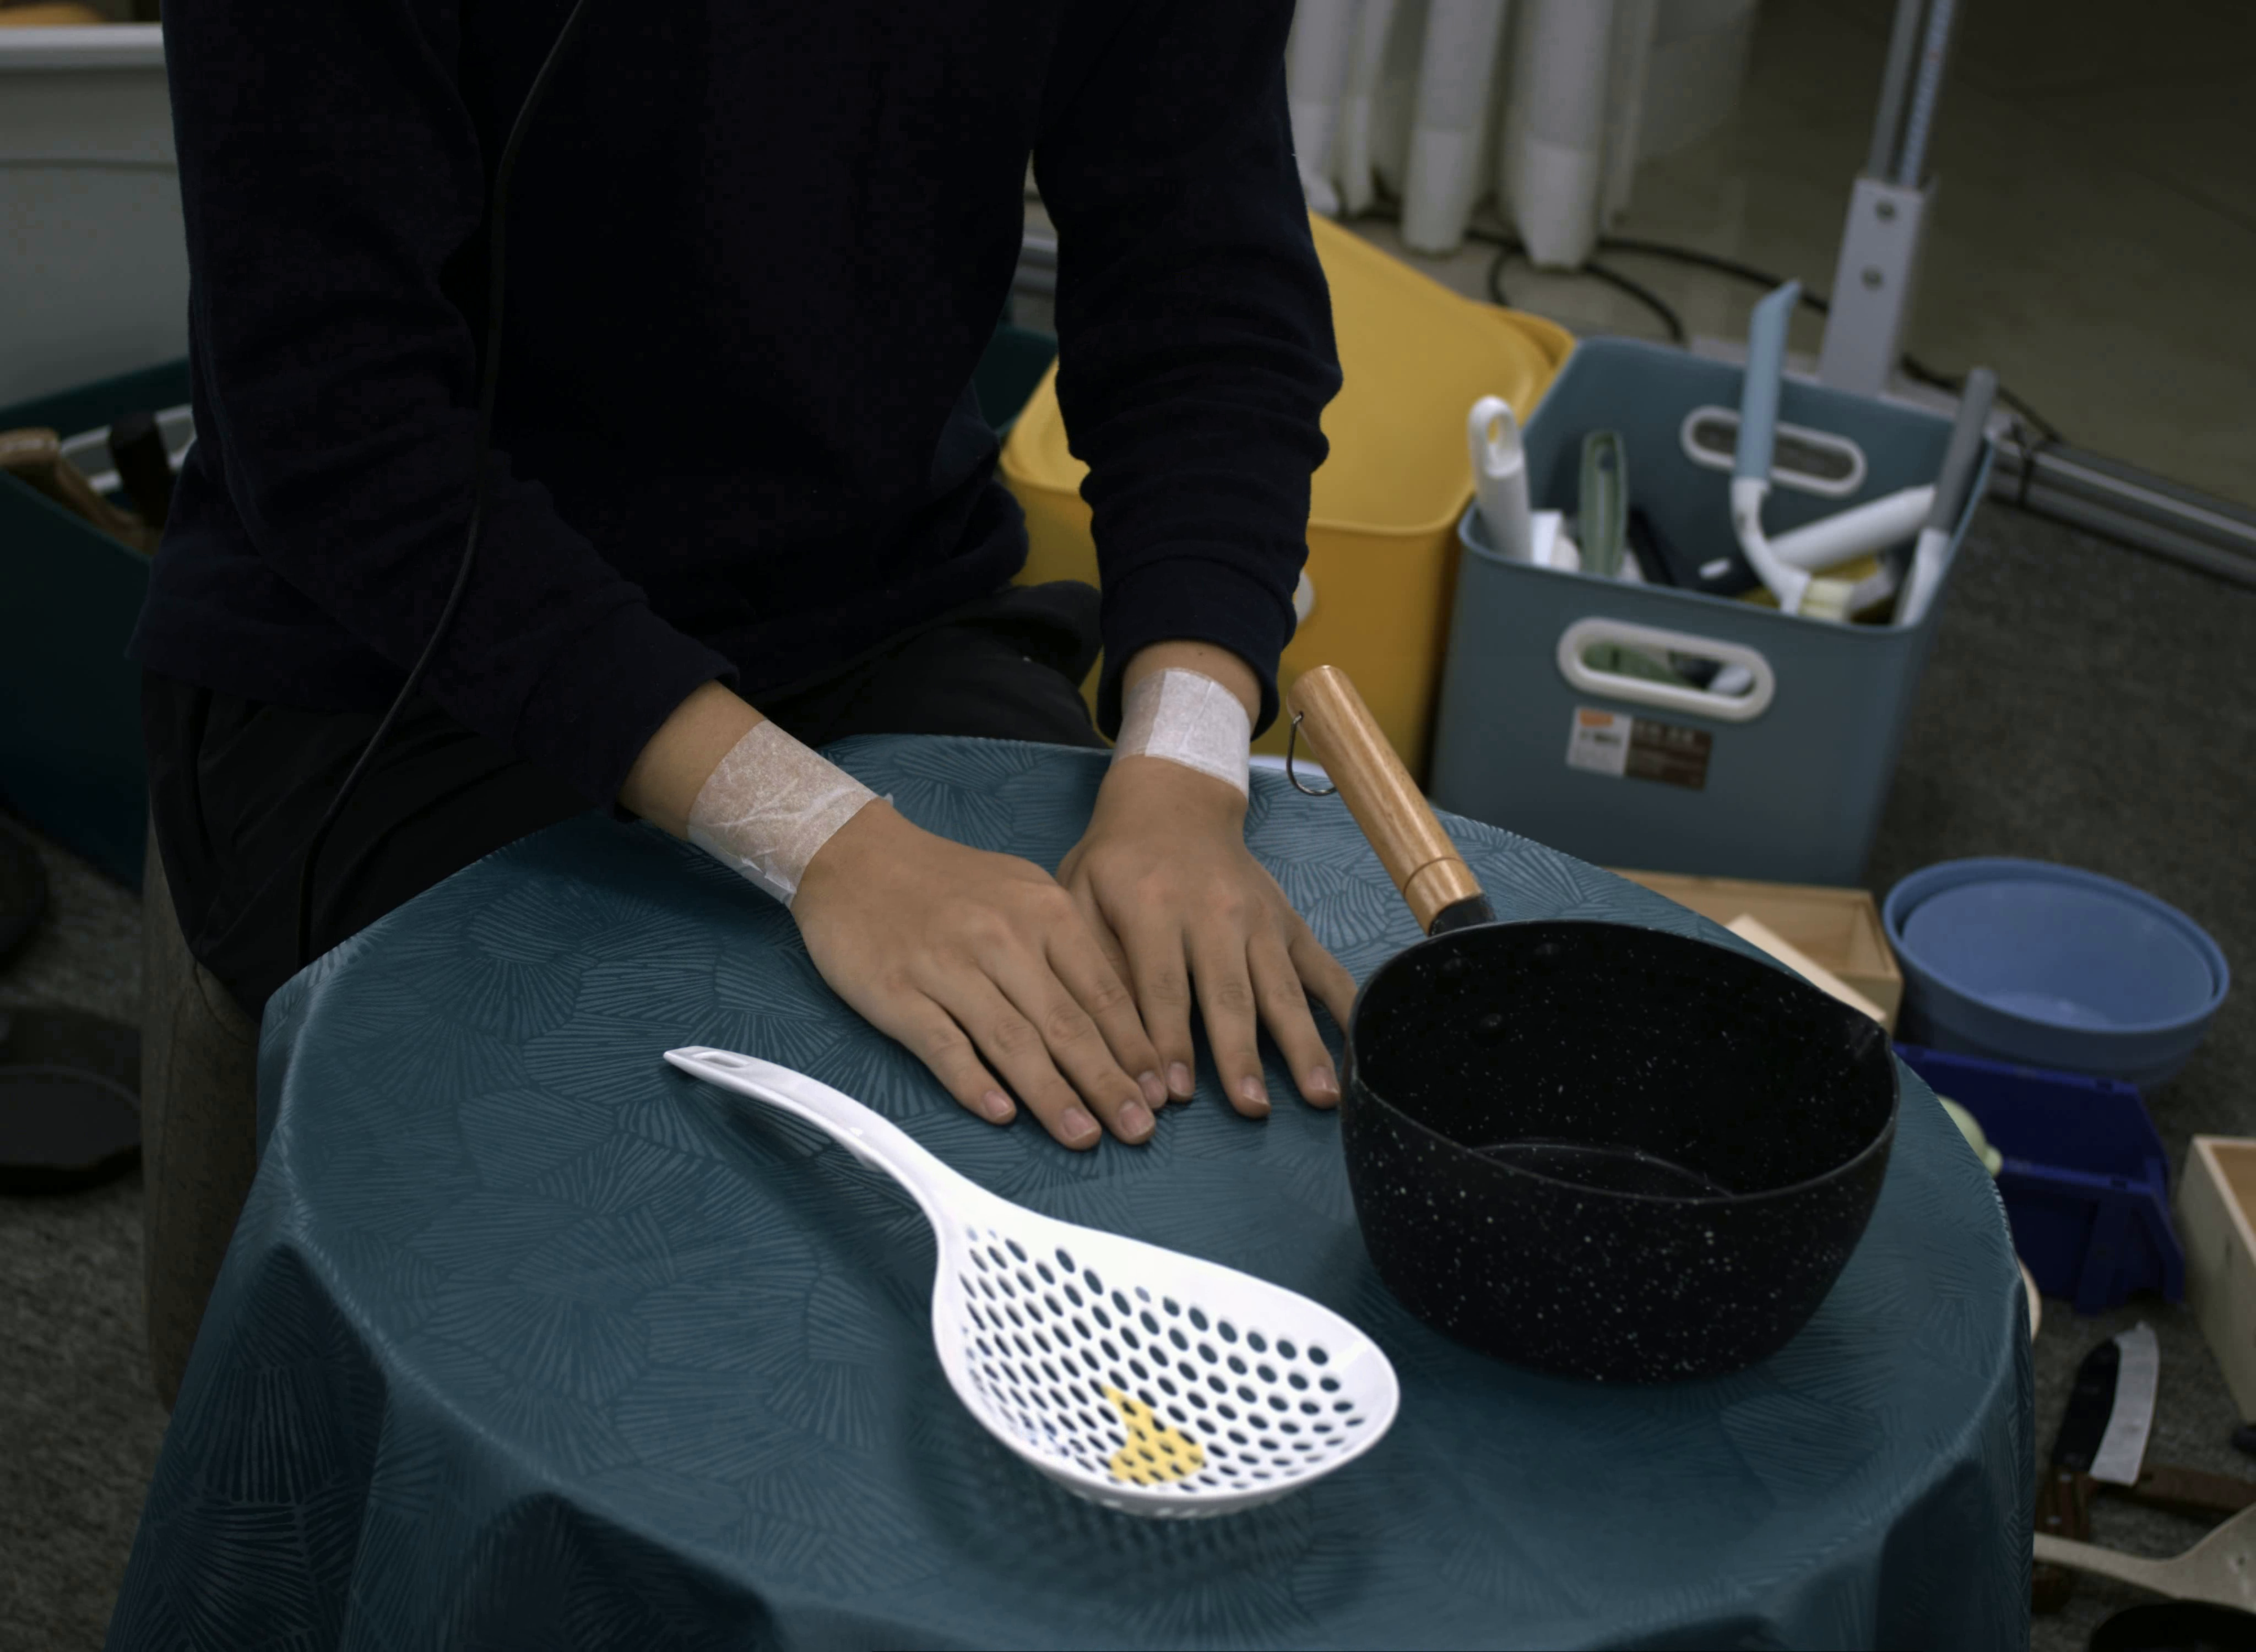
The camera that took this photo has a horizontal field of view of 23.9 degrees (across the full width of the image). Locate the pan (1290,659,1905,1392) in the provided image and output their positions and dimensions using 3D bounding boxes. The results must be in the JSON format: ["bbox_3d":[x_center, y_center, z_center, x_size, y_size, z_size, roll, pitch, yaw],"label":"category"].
[{"bbox_3d":[0.128,0.065,1.827,0.206,0.108,0.346,-7,31,-23],"label":"pan"}]

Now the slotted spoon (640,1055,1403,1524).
[{"bbox_3d":[-0.052,0.137,1.718,0.136,0.050,0.351,-16,36,-34],"label":"slotted spoon"}]
